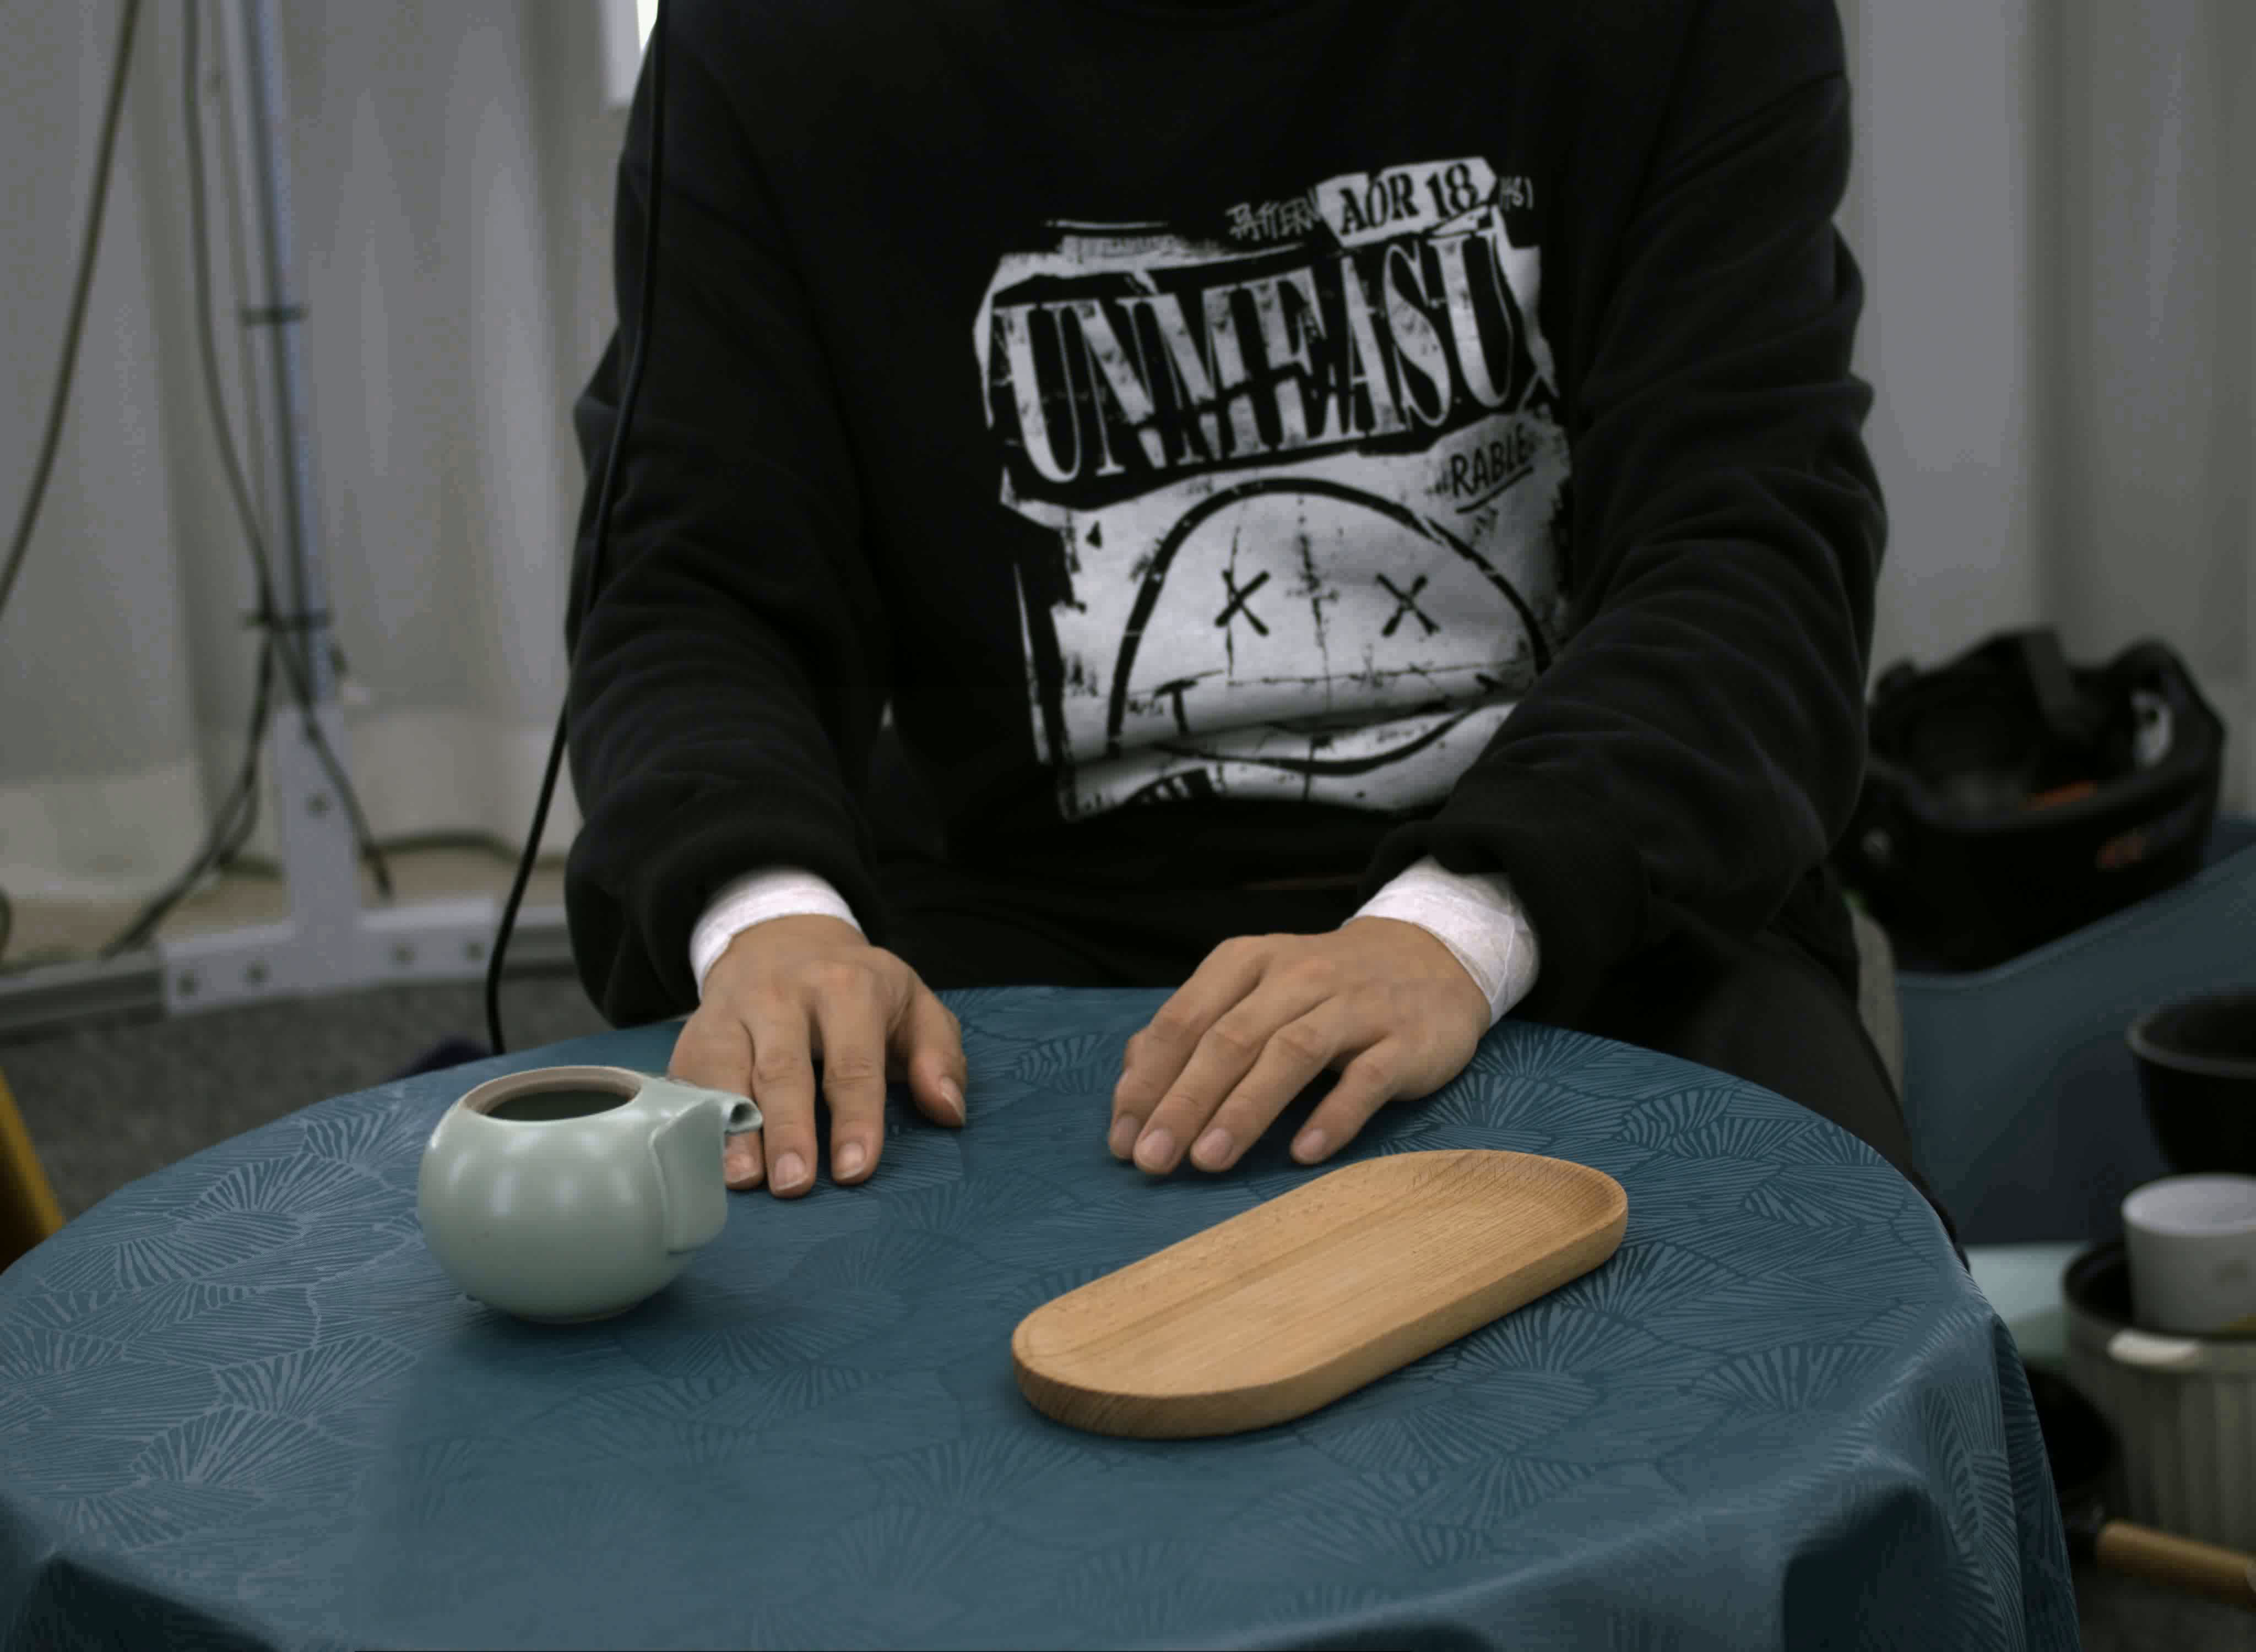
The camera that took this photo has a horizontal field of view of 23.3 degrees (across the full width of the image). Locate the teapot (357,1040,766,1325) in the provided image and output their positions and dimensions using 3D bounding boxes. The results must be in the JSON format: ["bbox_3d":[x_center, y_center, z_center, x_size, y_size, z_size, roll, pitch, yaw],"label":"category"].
[{"bbox_3d":[-0.168,0.107,1.632,0.144,0.074,0.088,8,18,30],"label":"teapot"}]

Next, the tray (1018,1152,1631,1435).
[{"bbox_3d":[0.060,0.135,1.598,0.102,0.020,0.231,11,18,37],"label":"tray"}]
